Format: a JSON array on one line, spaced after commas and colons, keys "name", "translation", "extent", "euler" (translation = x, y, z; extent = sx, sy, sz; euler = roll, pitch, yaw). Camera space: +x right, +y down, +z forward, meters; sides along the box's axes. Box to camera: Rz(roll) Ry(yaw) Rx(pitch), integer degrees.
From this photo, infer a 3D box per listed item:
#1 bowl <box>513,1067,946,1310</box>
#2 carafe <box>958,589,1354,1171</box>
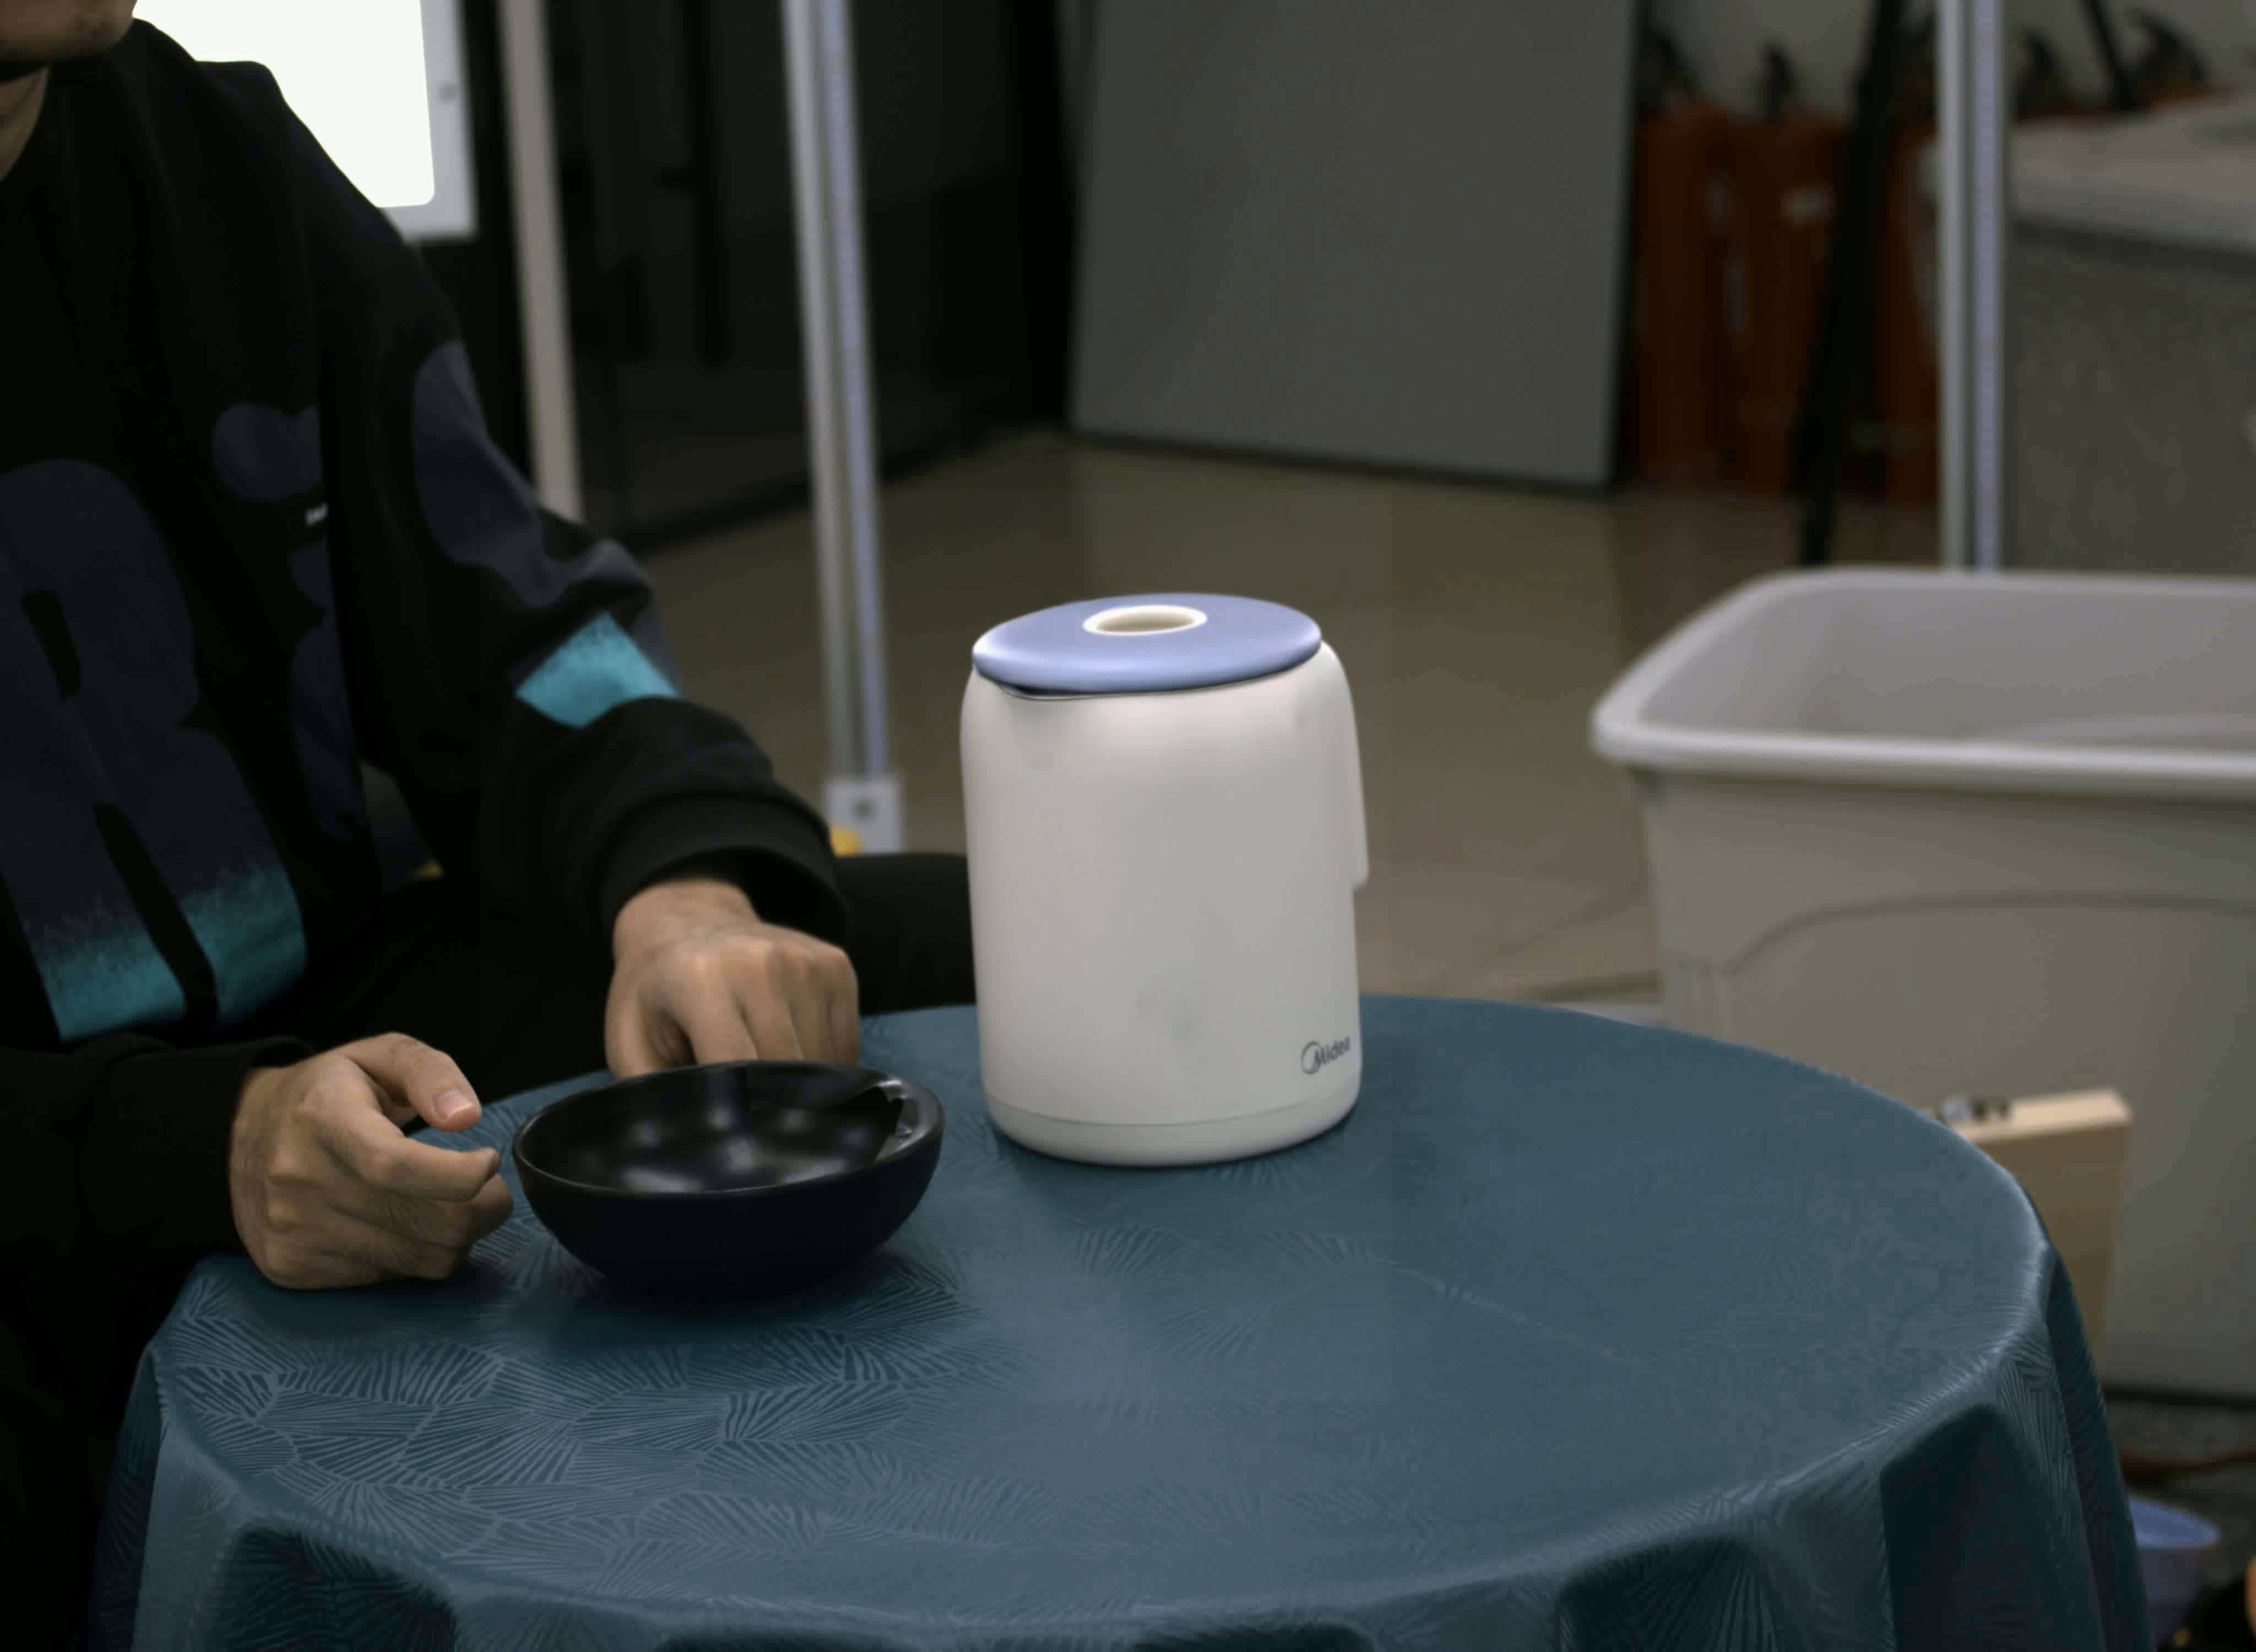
[{"name": "bowl", "translation": [-0.124, 0.119, 1.715], "extent": [0.138, 0.050, 0.140], "euler": [-6, 12, 0]}, {"name": "carafe", "translation": [0.023, 0.012, 1.847], "extent": [0.133, 0.184, 0.188], "euler": [7, 15, 34]}]
